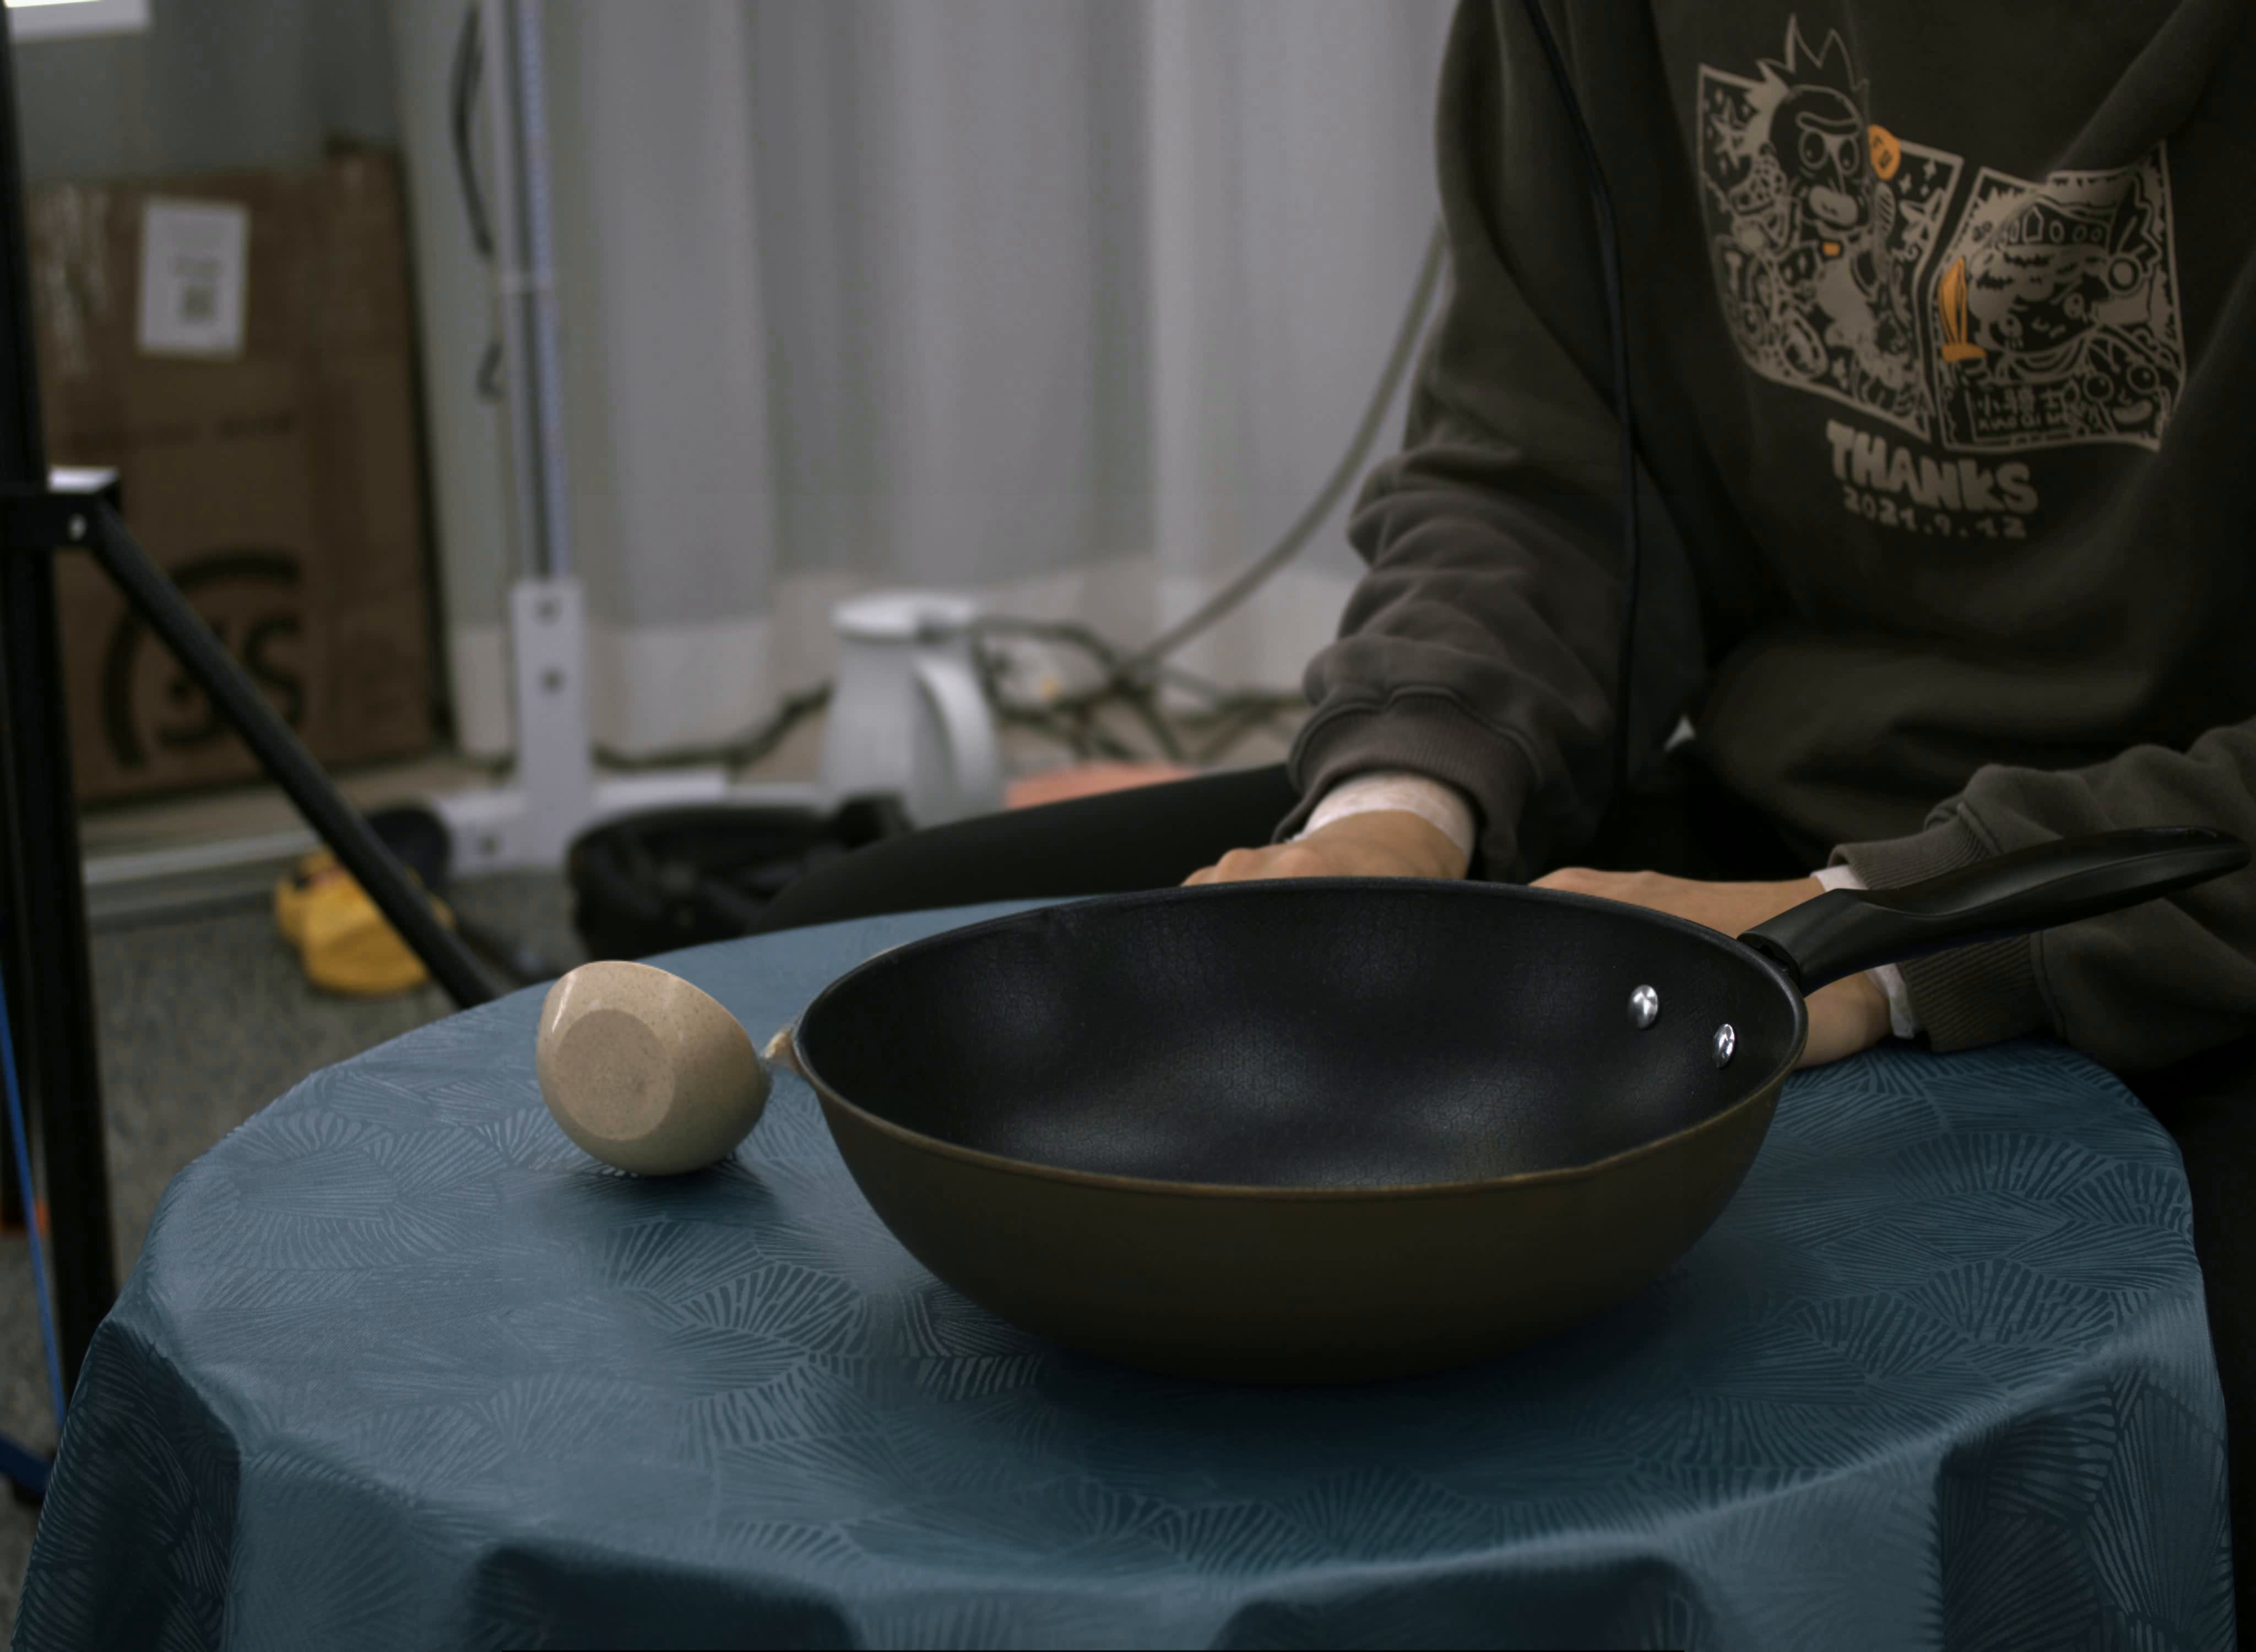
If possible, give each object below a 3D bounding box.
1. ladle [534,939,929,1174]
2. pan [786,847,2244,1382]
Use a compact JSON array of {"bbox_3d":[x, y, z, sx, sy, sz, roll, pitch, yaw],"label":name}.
[{"bbox_3d":[-0.113,0.042,1.681,0.073,0.073,0.252,-3,15,19],"label":"ladle"},{"bbox_3d":[0.126,0.075,1.505,0.453,0.087,0.294,-9,17,-25],"label":"pan"}]
